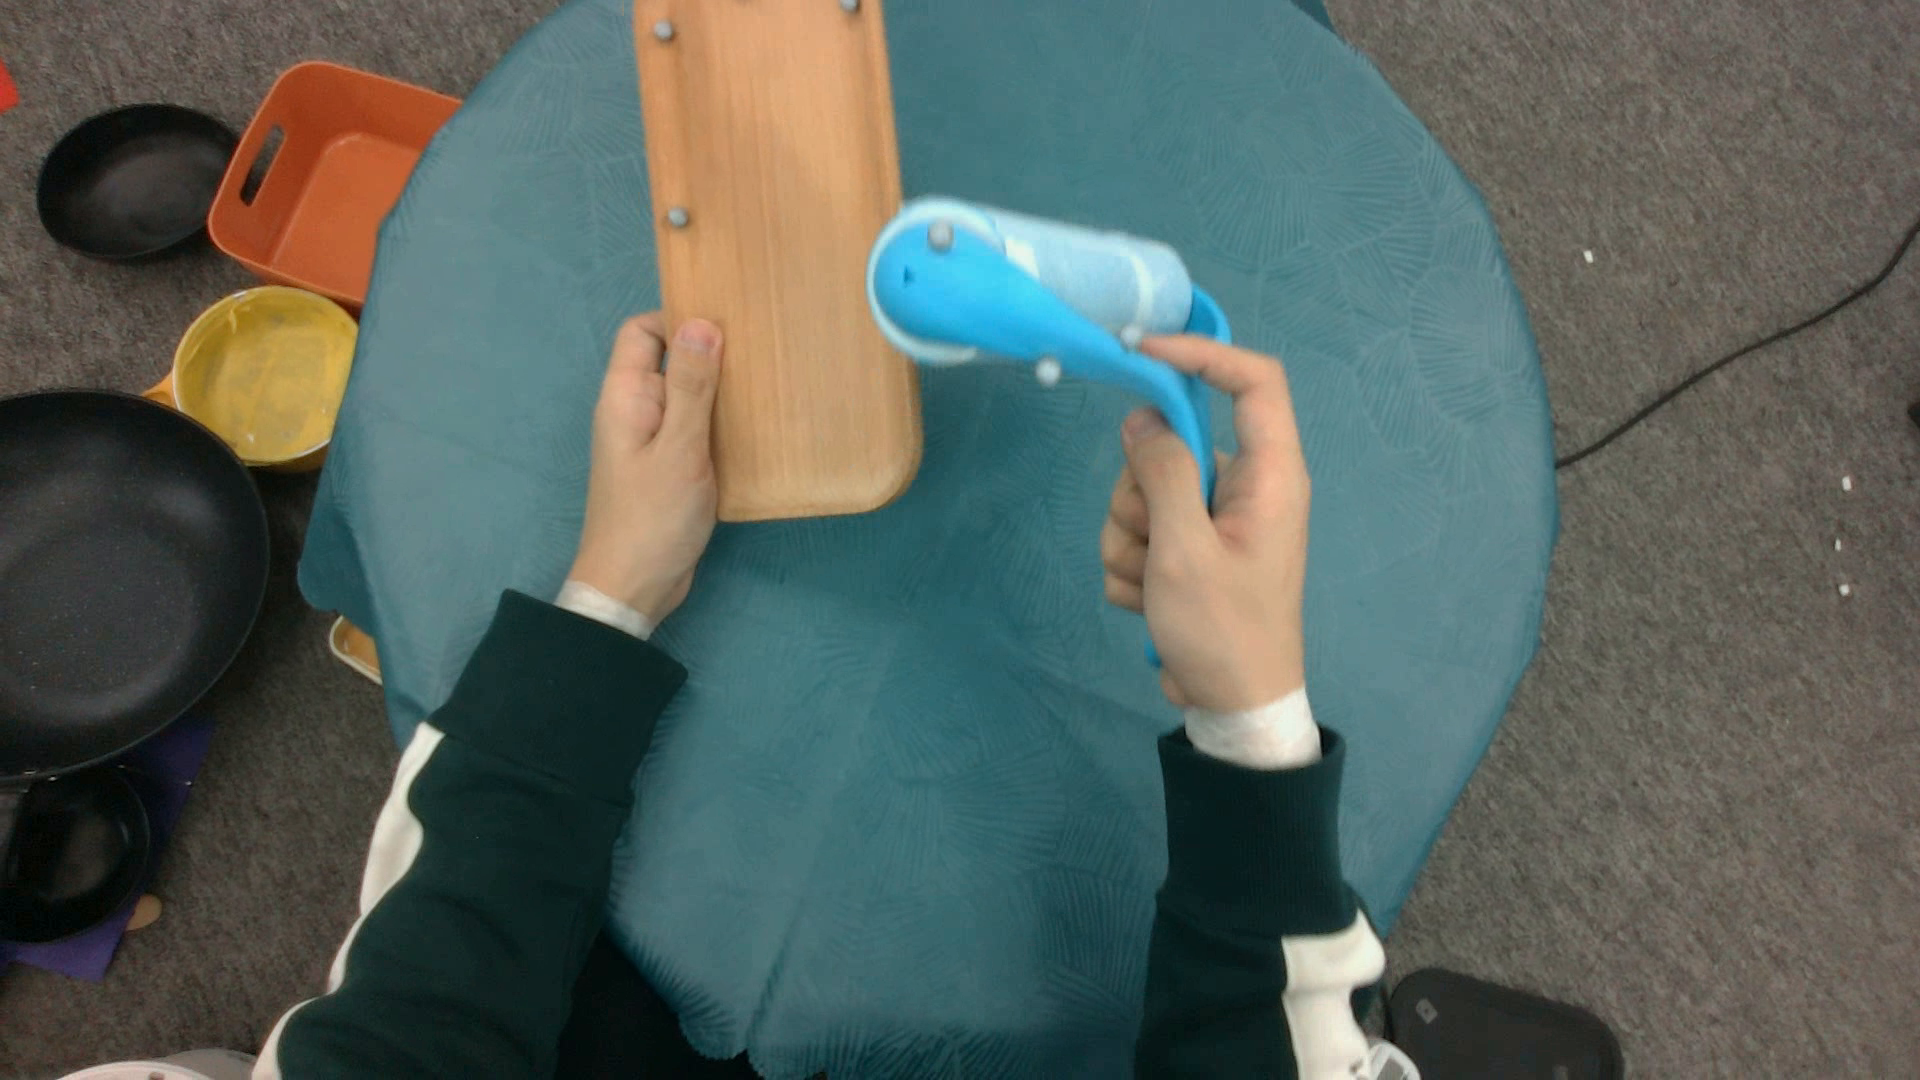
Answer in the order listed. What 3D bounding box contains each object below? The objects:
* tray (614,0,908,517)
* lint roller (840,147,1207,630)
[{"bbox_3d":[-0.084,-0.137,0.578,0.130,0.023,0.250,-3,93,32],"label":"tray"},{"bbox_3d":[0.054,-0.059,0.517,0.067,0.230,0.180,-28,88,26],"label":"lint roller"}]
